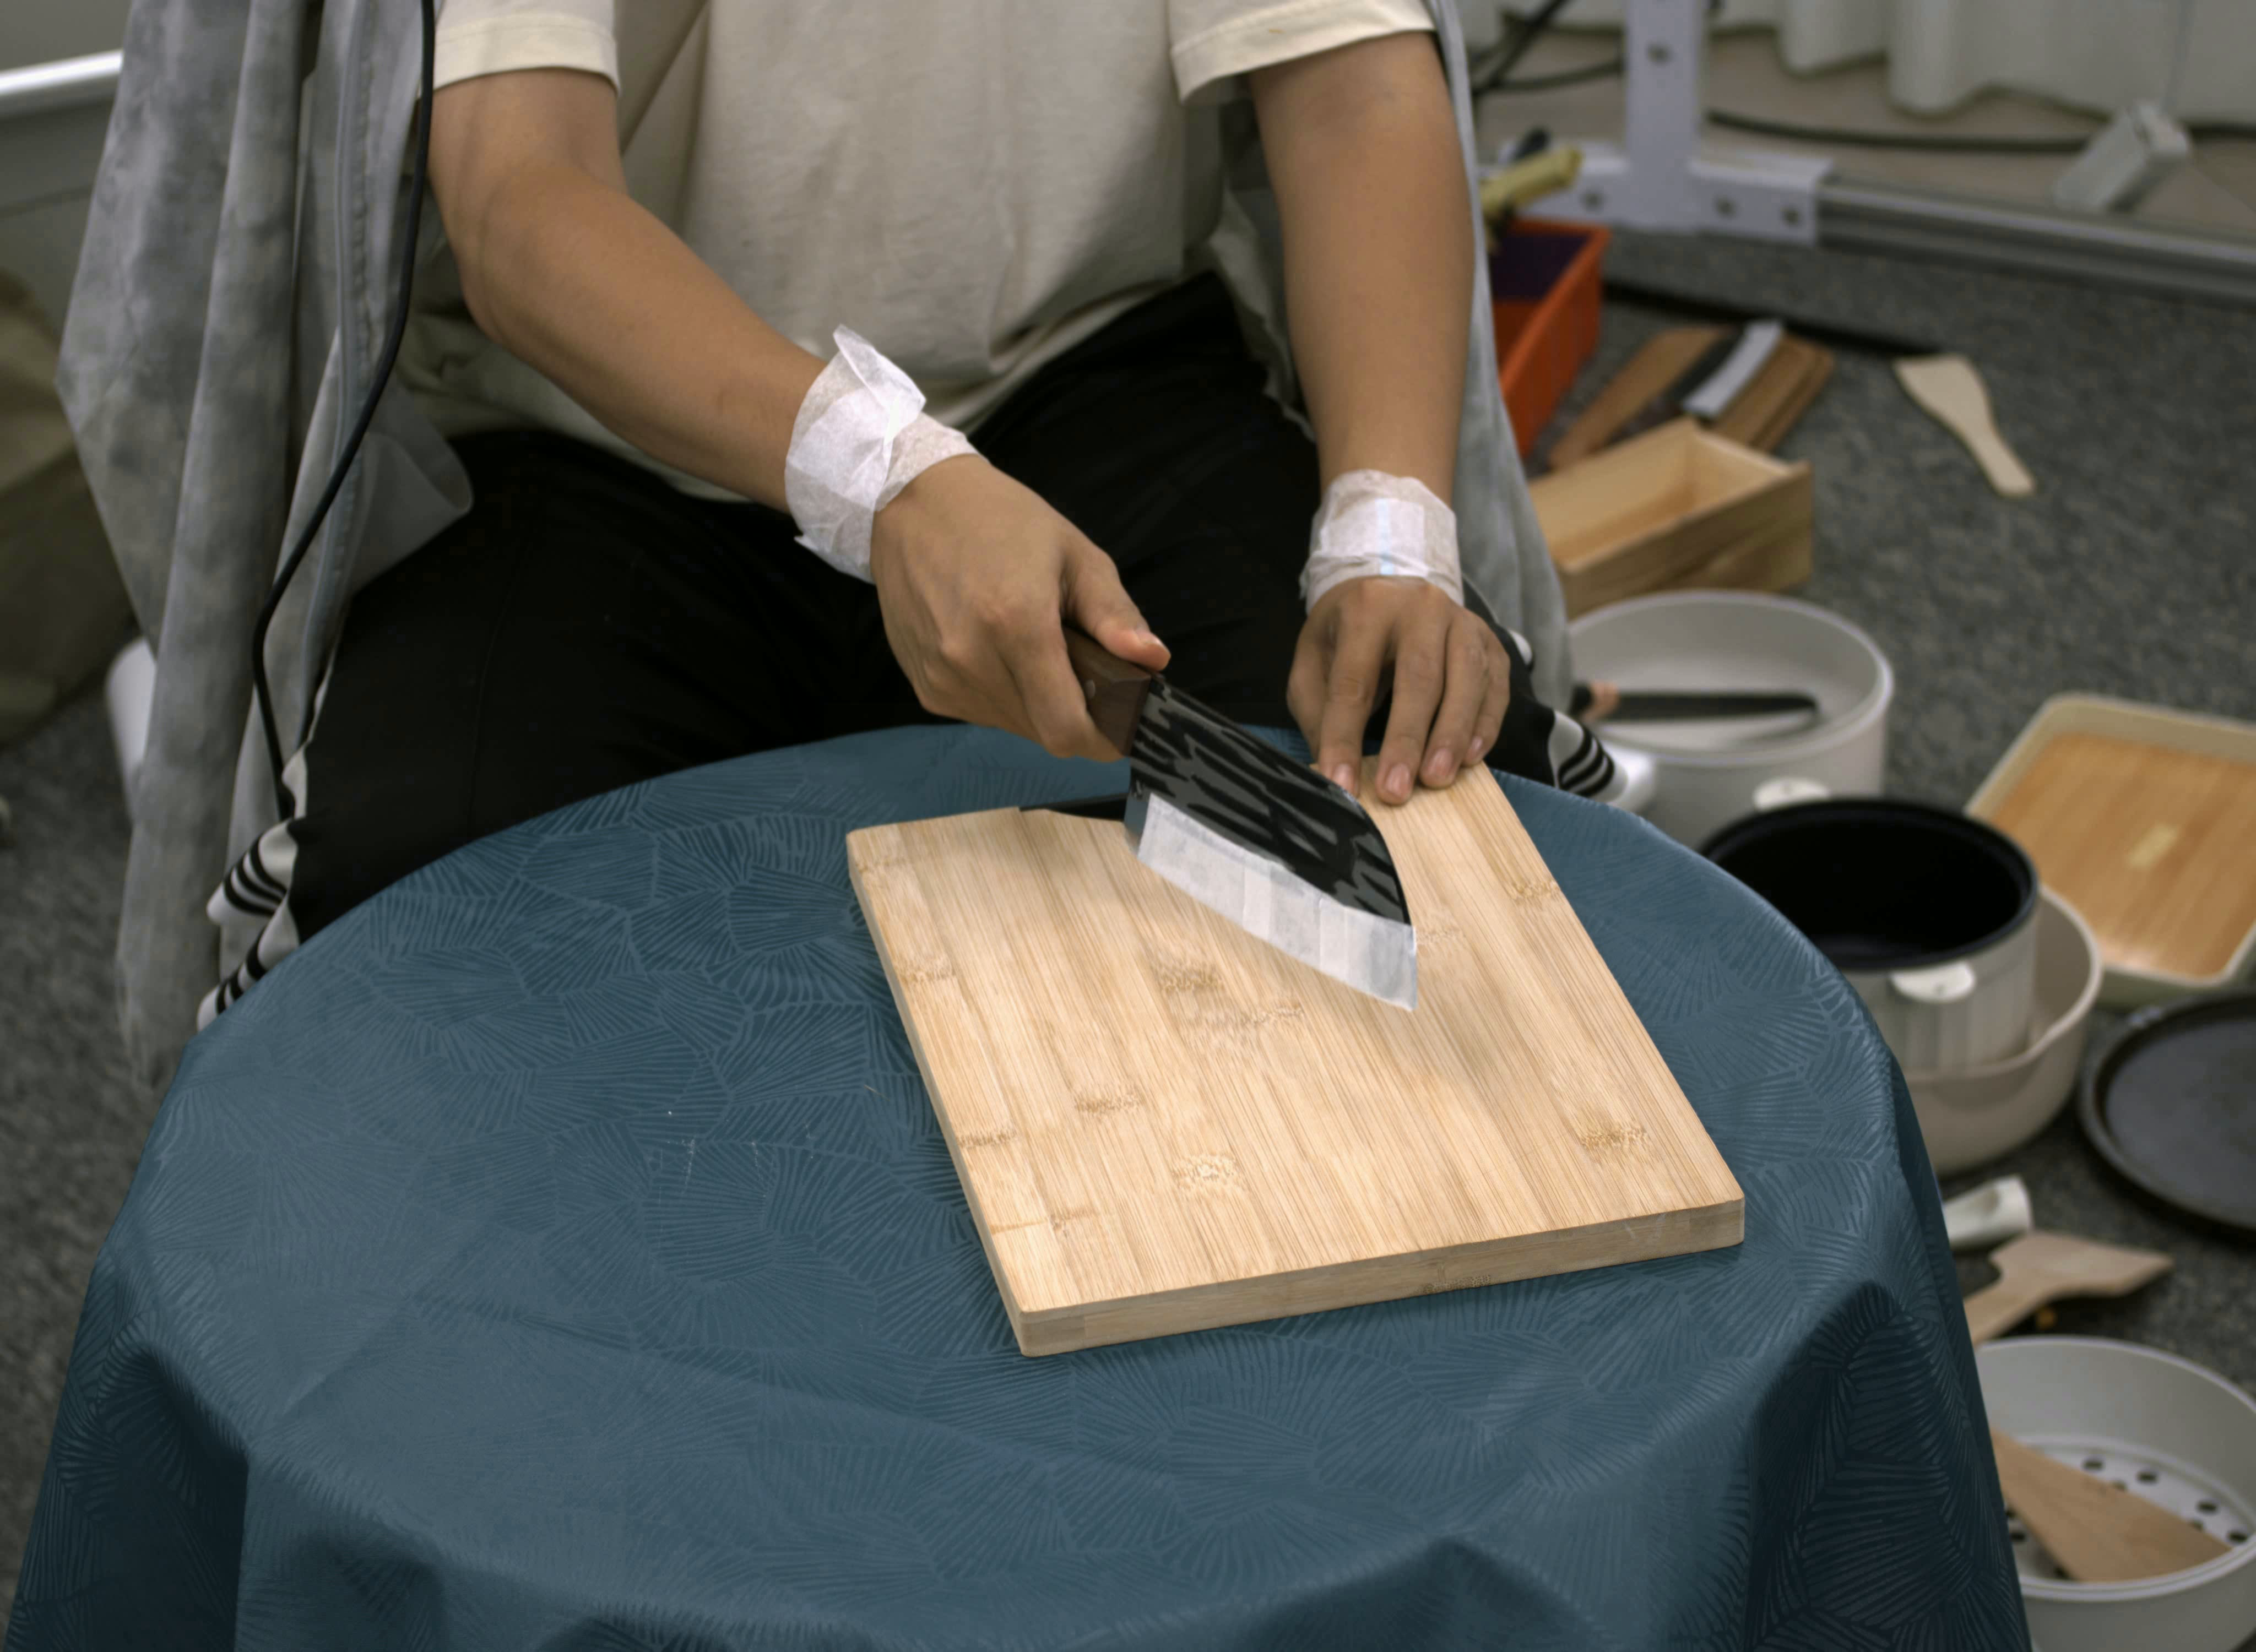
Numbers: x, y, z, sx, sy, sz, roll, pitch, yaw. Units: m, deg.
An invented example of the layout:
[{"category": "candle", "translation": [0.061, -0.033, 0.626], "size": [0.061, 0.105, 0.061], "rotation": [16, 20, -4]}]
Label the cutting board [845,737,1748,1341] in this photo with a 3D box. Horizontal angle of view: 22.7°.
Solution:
[{"category": "cutting board", "translation": [0.048, 0.067, 1.944], "size": [0.250, 0.023, 0.352], "rotation": [-8, 27, -11]}]

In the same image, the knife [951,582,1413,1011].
[{"category": "knife", "translation": [0.017, -0.013, 1.970], "size": [0.024, 0.067, 0.300], "rotation": [-1, 21, -35]}]
